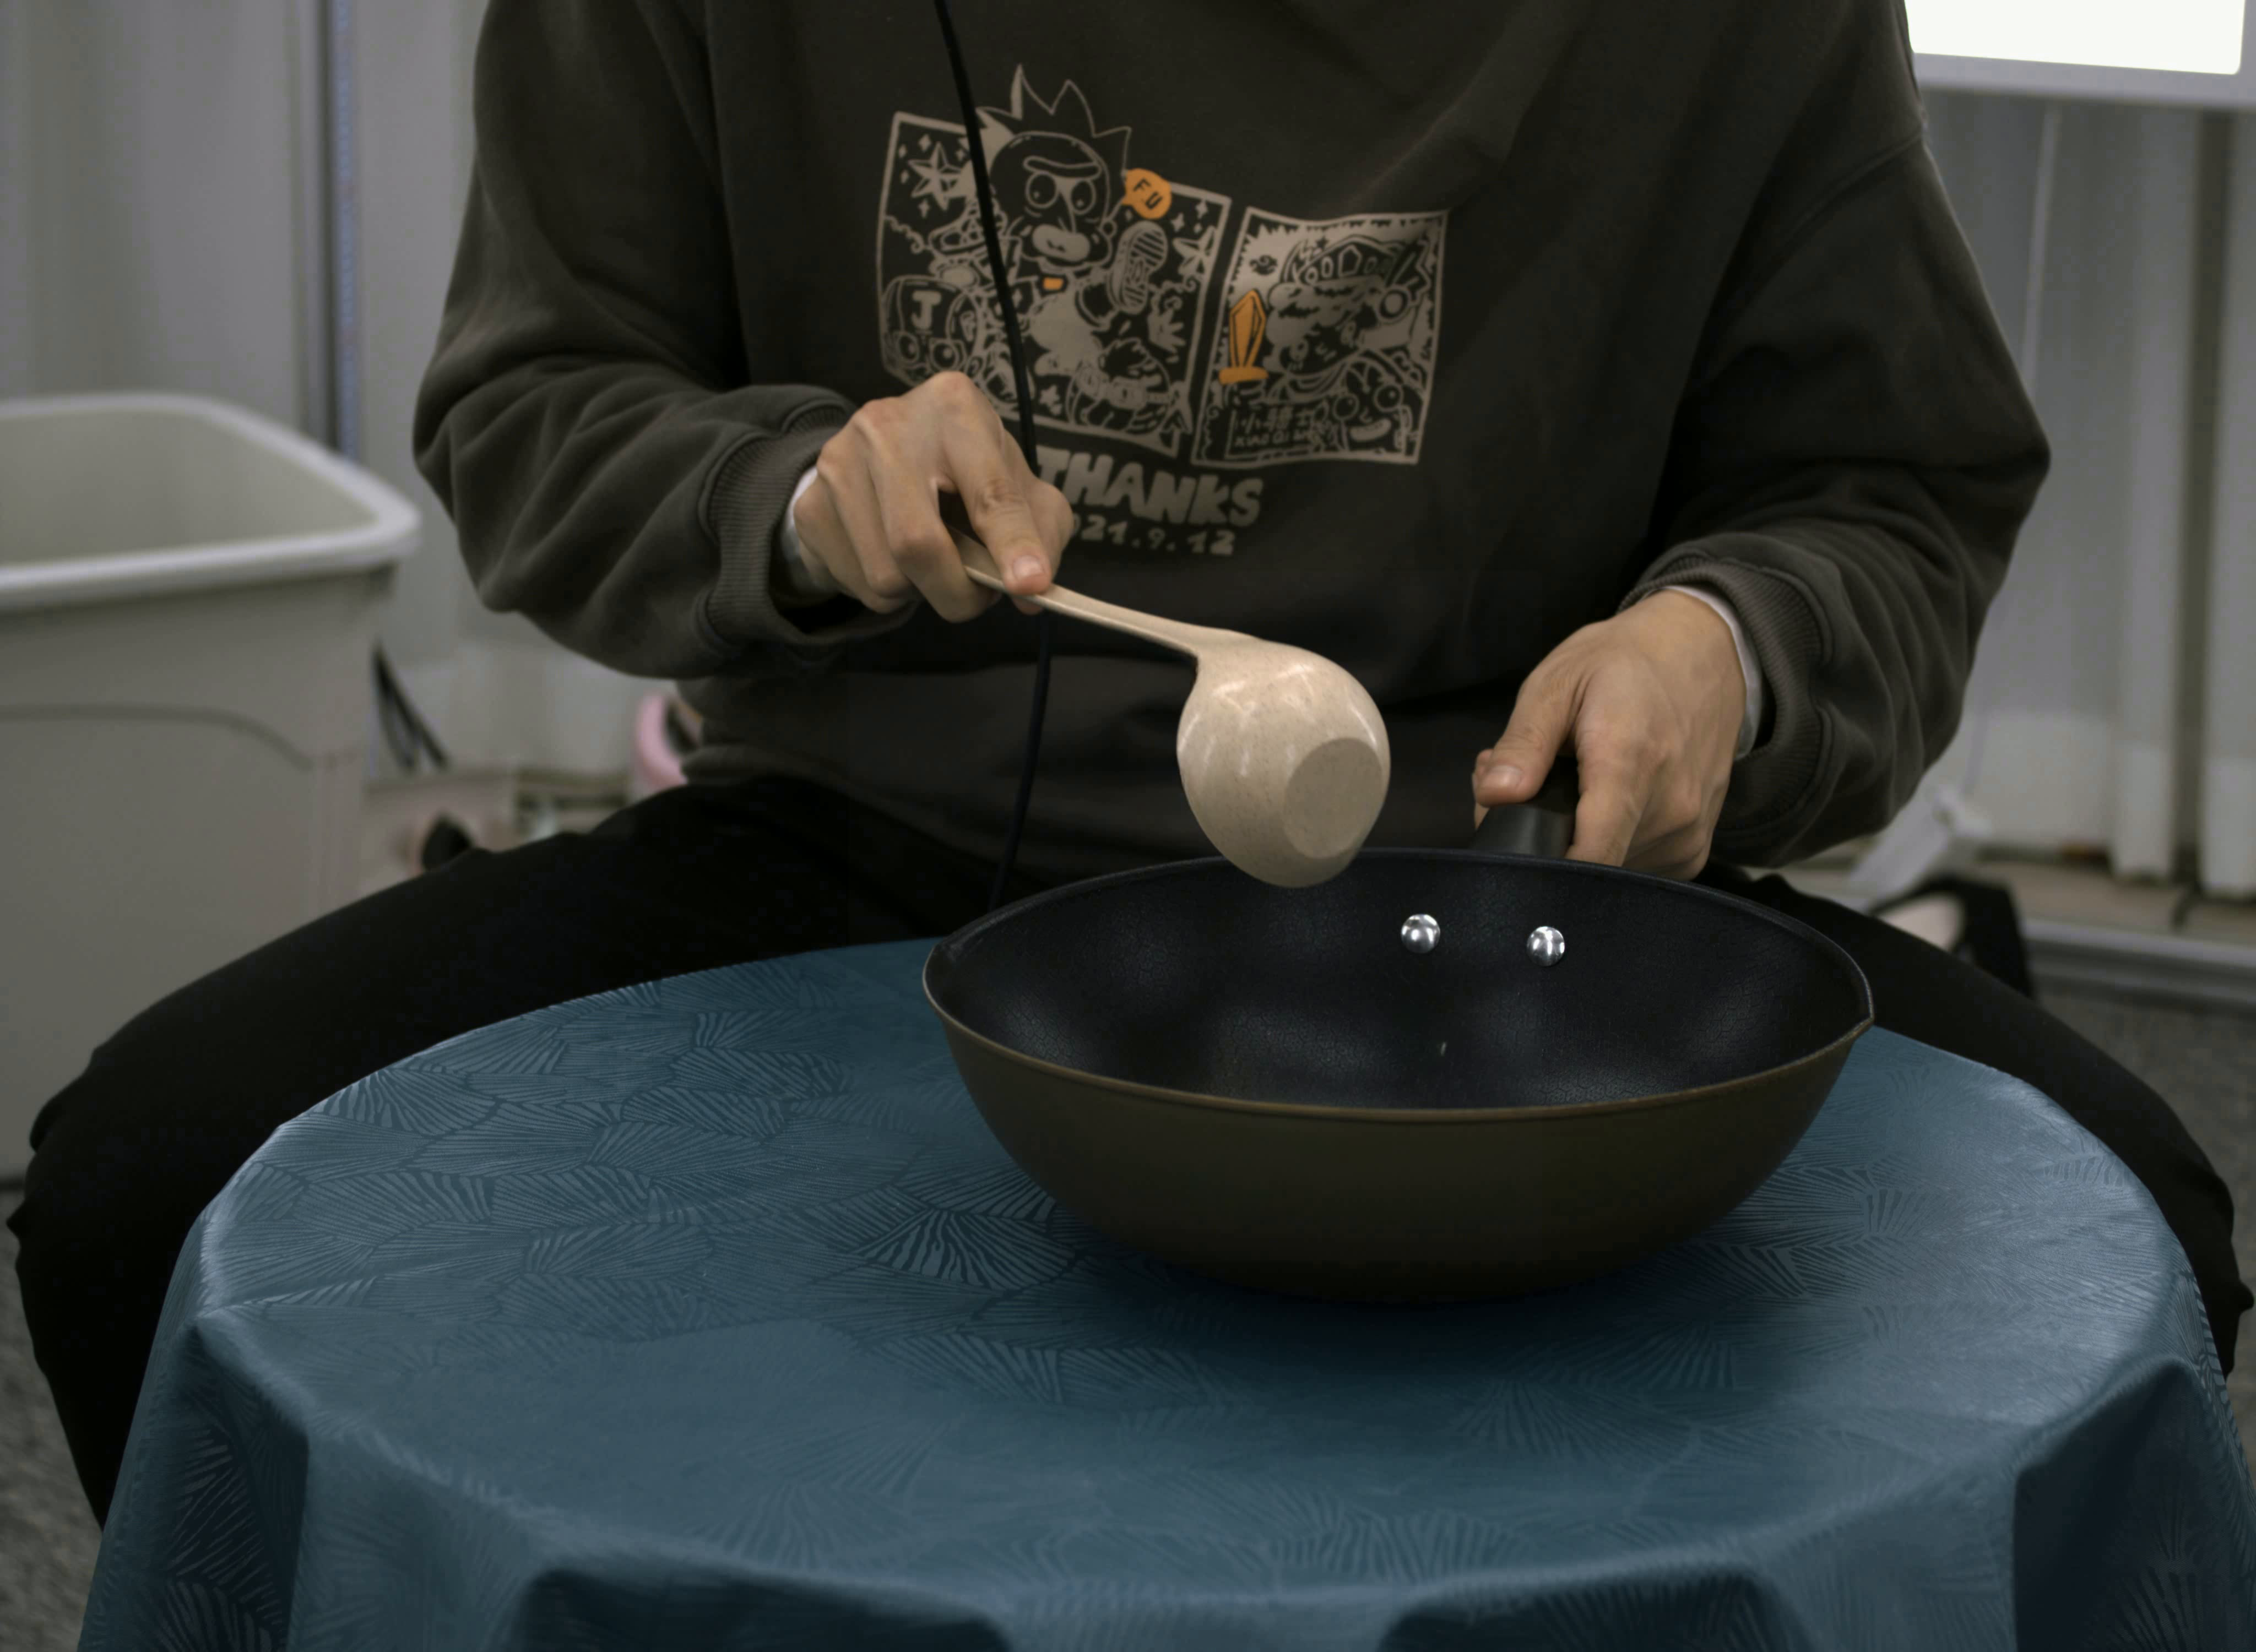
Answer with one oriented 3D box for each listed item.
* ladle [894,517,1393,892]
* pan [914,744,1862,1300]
[{"bbox_3d":[-0.005,-0.042,1.722,0.072,0.073,0.251,-19,24,-29],"label":"ladle"},{"bbox_3d":[0.102,0.059,1.674,0.286,0.087,0.463,5,15,15],"label":"pan"}]
